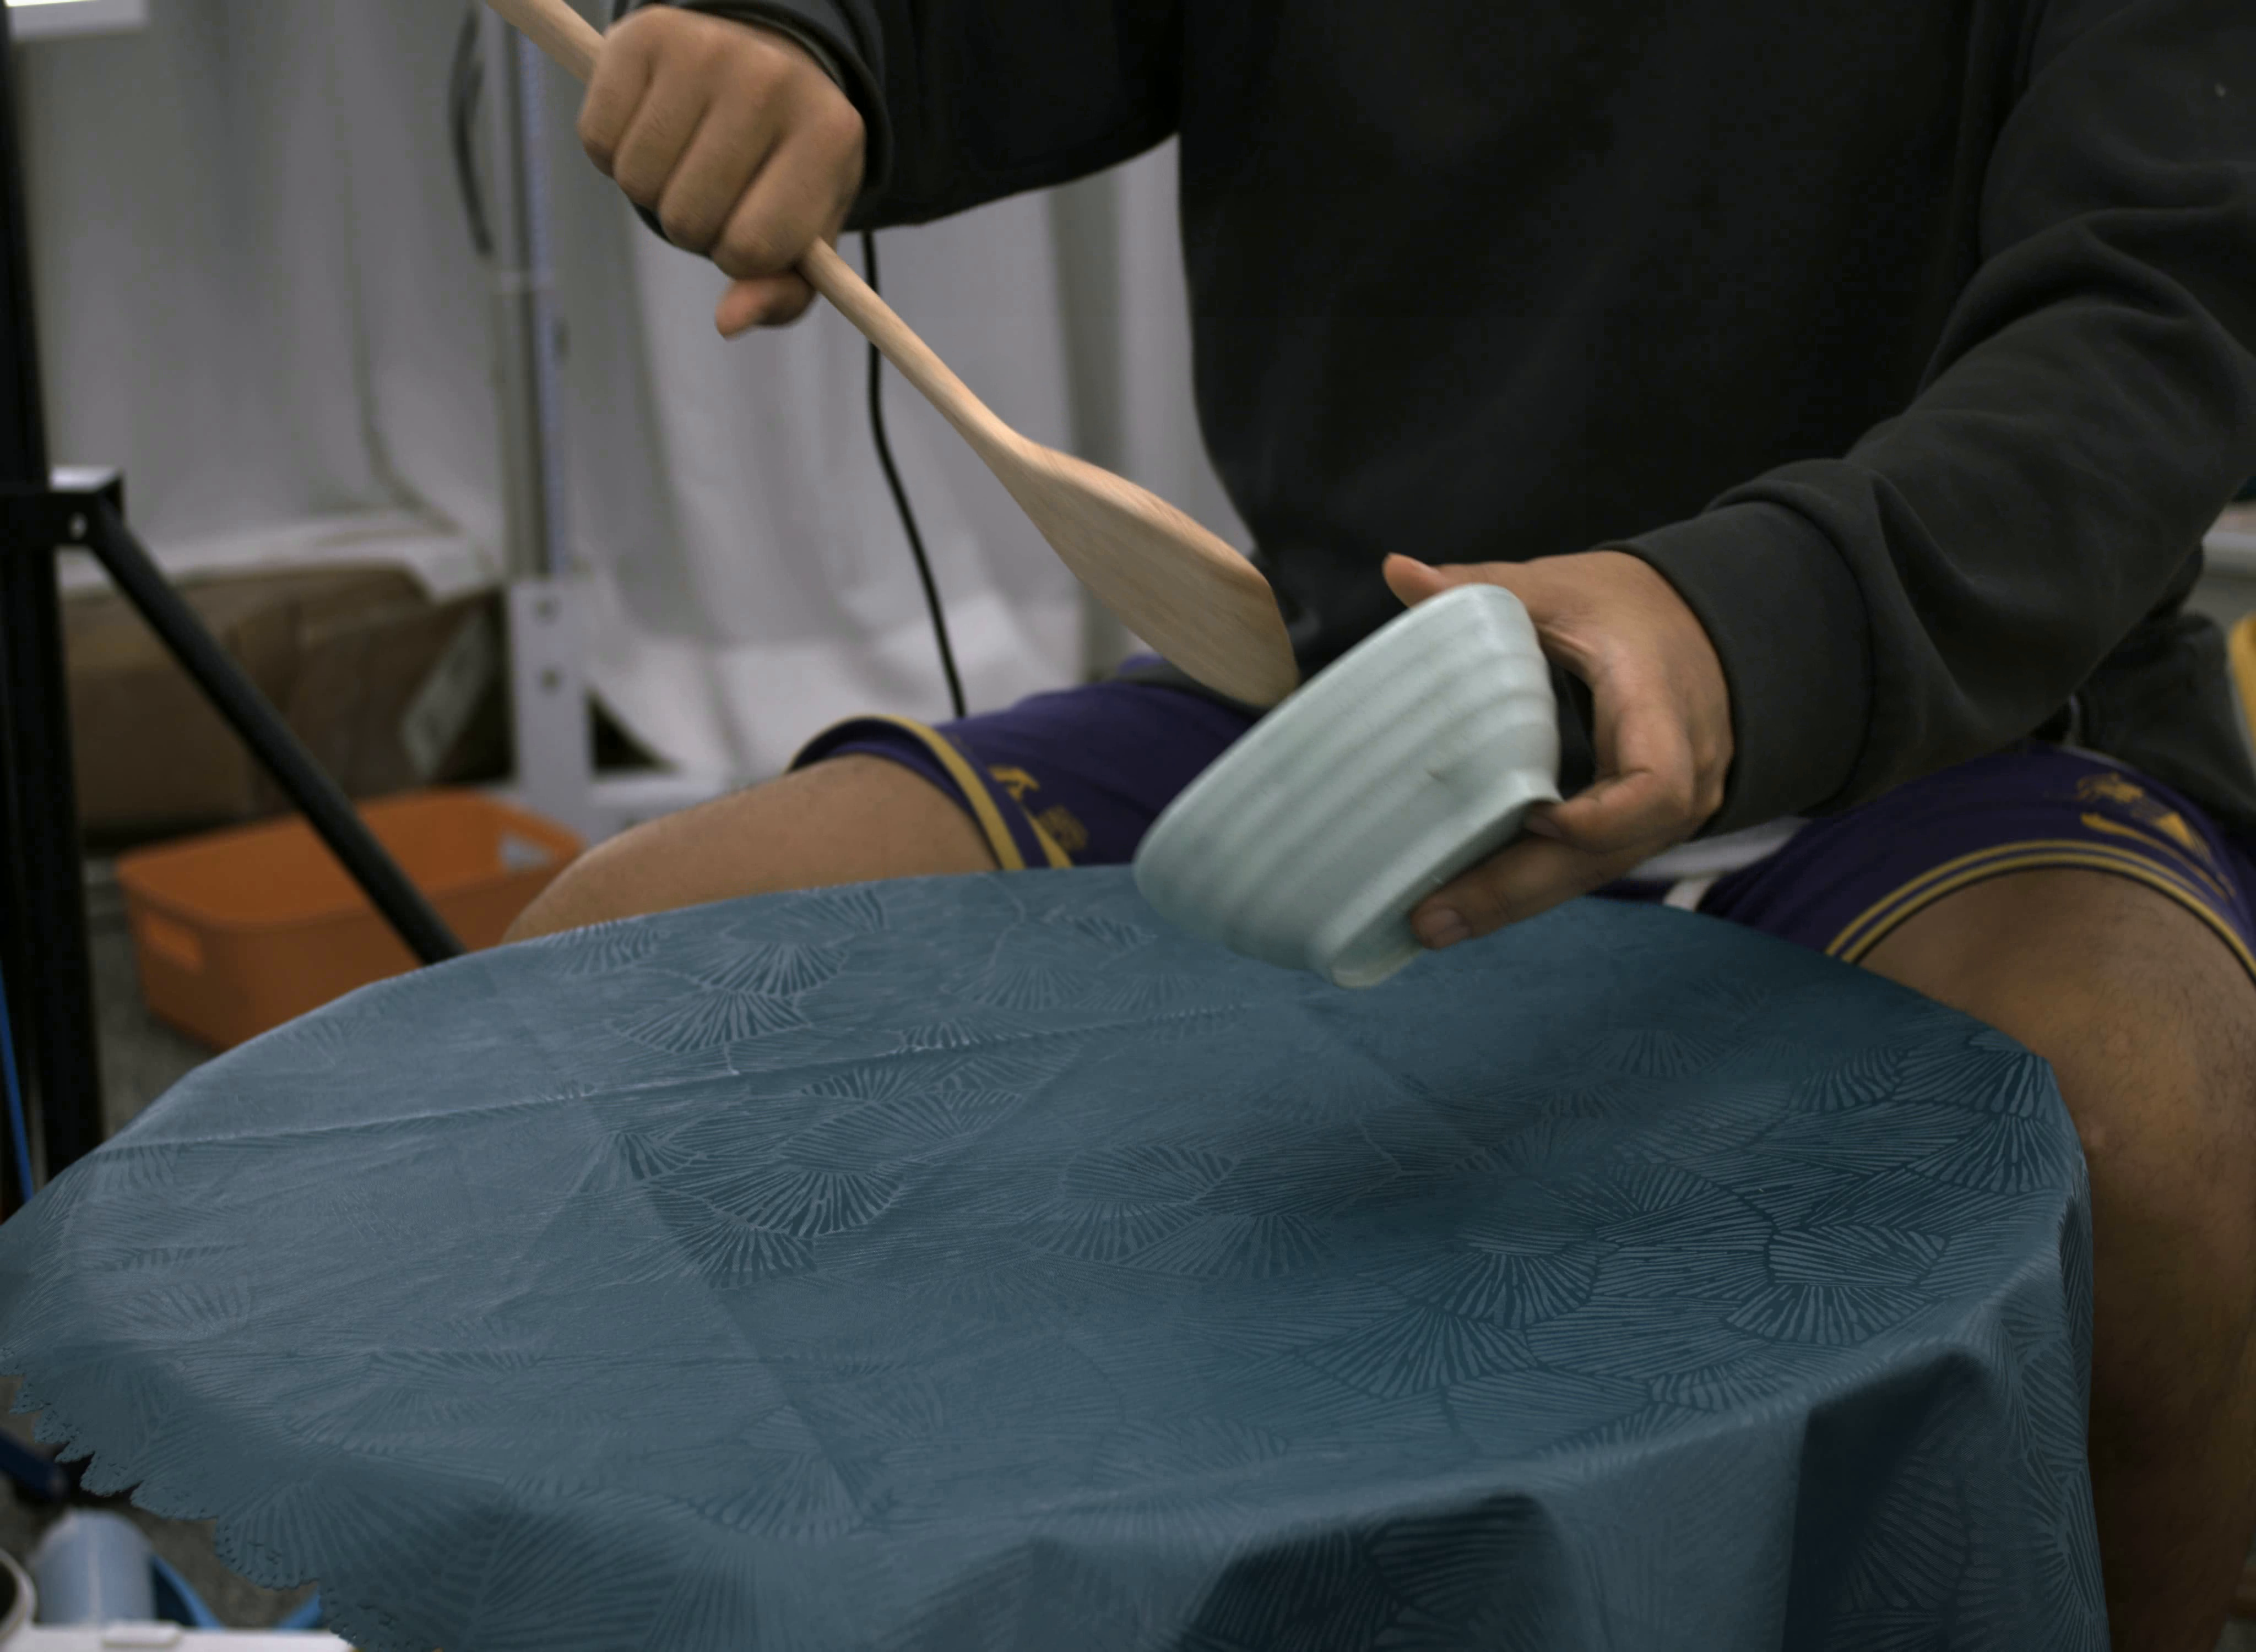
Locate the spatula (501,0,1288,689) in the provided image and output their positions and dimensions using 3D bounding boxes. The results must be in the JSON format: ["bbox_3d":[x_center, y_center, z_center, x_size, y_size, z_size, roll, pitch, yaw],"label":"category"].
[{"bbox_3d":[-0.093,-0.174,1.595,0.018,0.095,0.397,-40,68,-16],"label":"spatula"}]

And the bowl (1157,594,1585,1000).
[{"bbox_3d":[0.080,0.001,1.531,0.059,0.153,0.148,51,38,13],"label":"bowl"}]
